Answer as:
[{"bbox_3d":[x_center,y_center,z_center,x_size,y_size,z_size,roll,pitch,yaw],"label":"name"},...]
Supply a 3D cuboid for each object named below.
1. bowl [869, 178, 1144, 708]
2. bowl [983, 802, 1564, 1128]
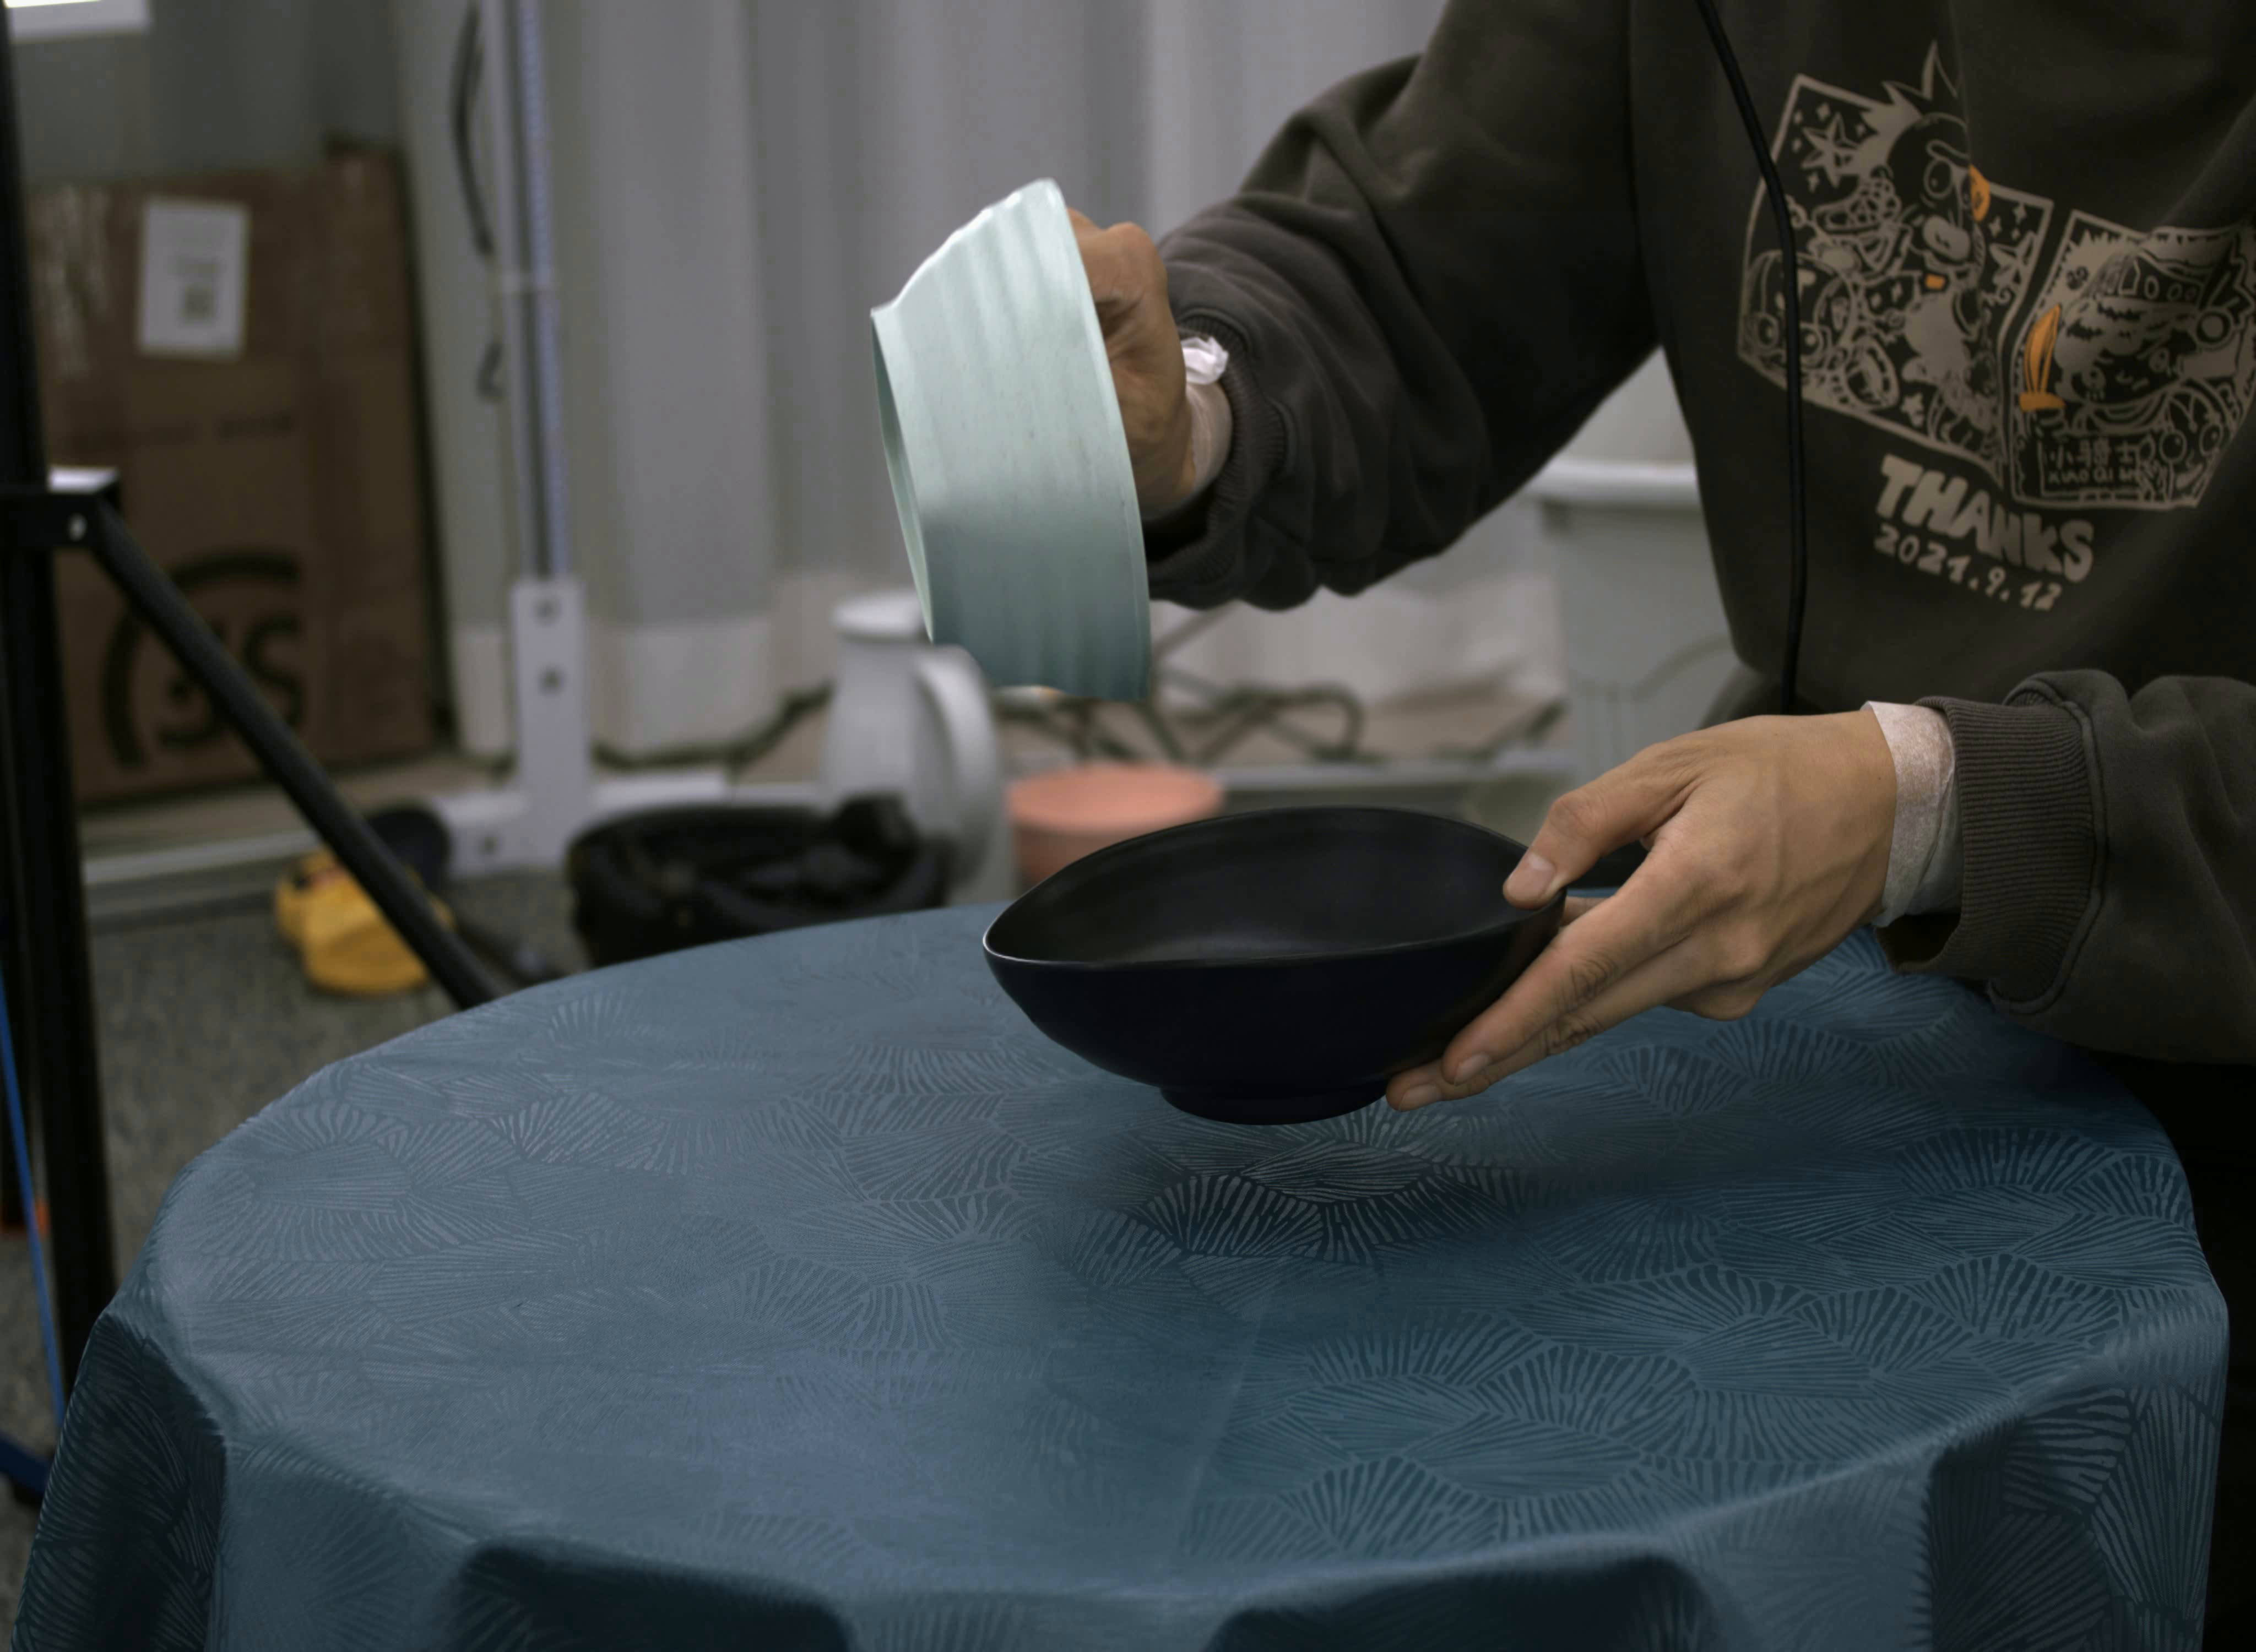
[{"bbox_3d":[-0.036,-0.103,1.506,0.058,0.151,0.153,-10,16,-3],"label":"bowl"},{"bbox_3d":[0.043,0.046,1.542,0.170,0.066,0.137,-4,17,5],"label":"bowl"}]
